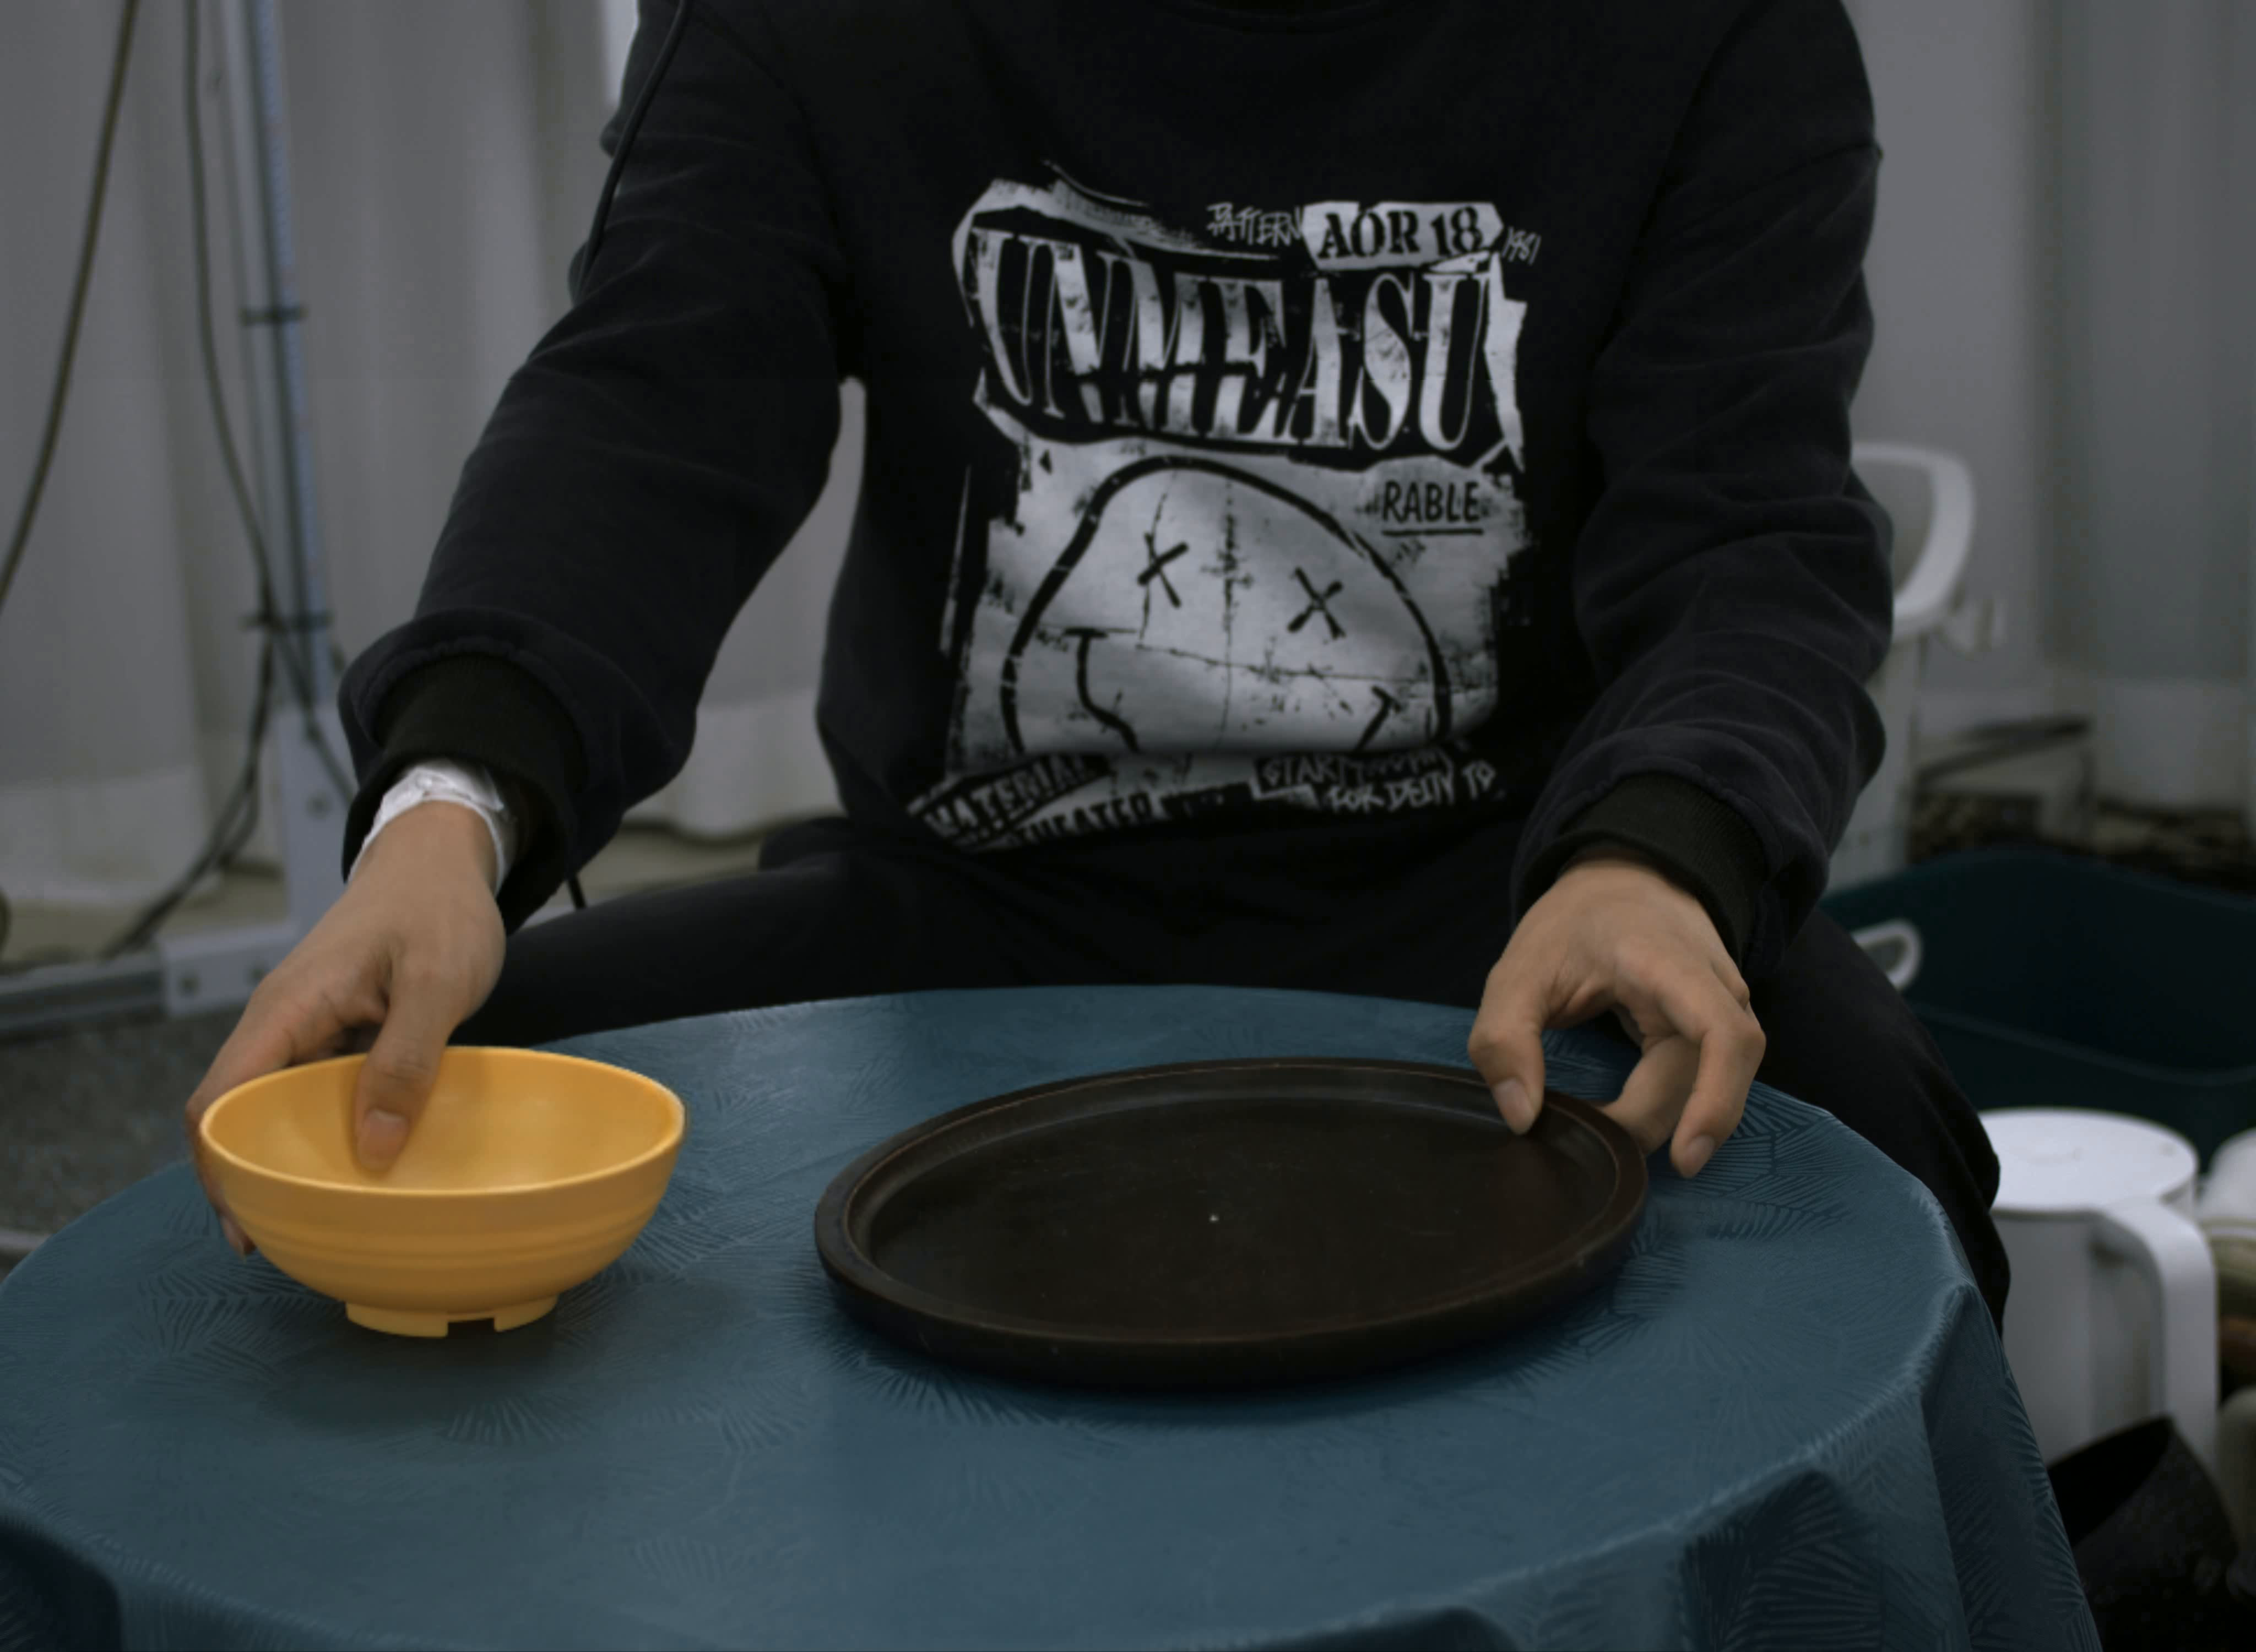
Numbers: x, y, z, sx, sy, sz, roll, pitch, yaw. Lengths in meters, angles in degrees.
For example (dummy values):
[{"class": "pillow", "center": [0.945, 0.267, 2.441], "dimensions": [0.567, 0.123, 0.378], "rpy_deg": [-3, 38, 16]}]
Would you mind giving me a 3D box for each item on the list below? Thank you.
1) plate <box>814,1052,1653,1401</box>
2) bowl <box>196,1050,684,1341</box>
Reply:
[{"class": "plate", "center": [0.032, 0.118, 1.643], "dimensions": [0.254, 0.029, 0.256], "rpy_deg": [-6, 15, 1]}, {"class": "bowl", "center": [-0.206, 0.115, 1.634], "dimensions": [0.145, 0.060, 0.146], "rpy_deg": [3, 13, -1]}]
